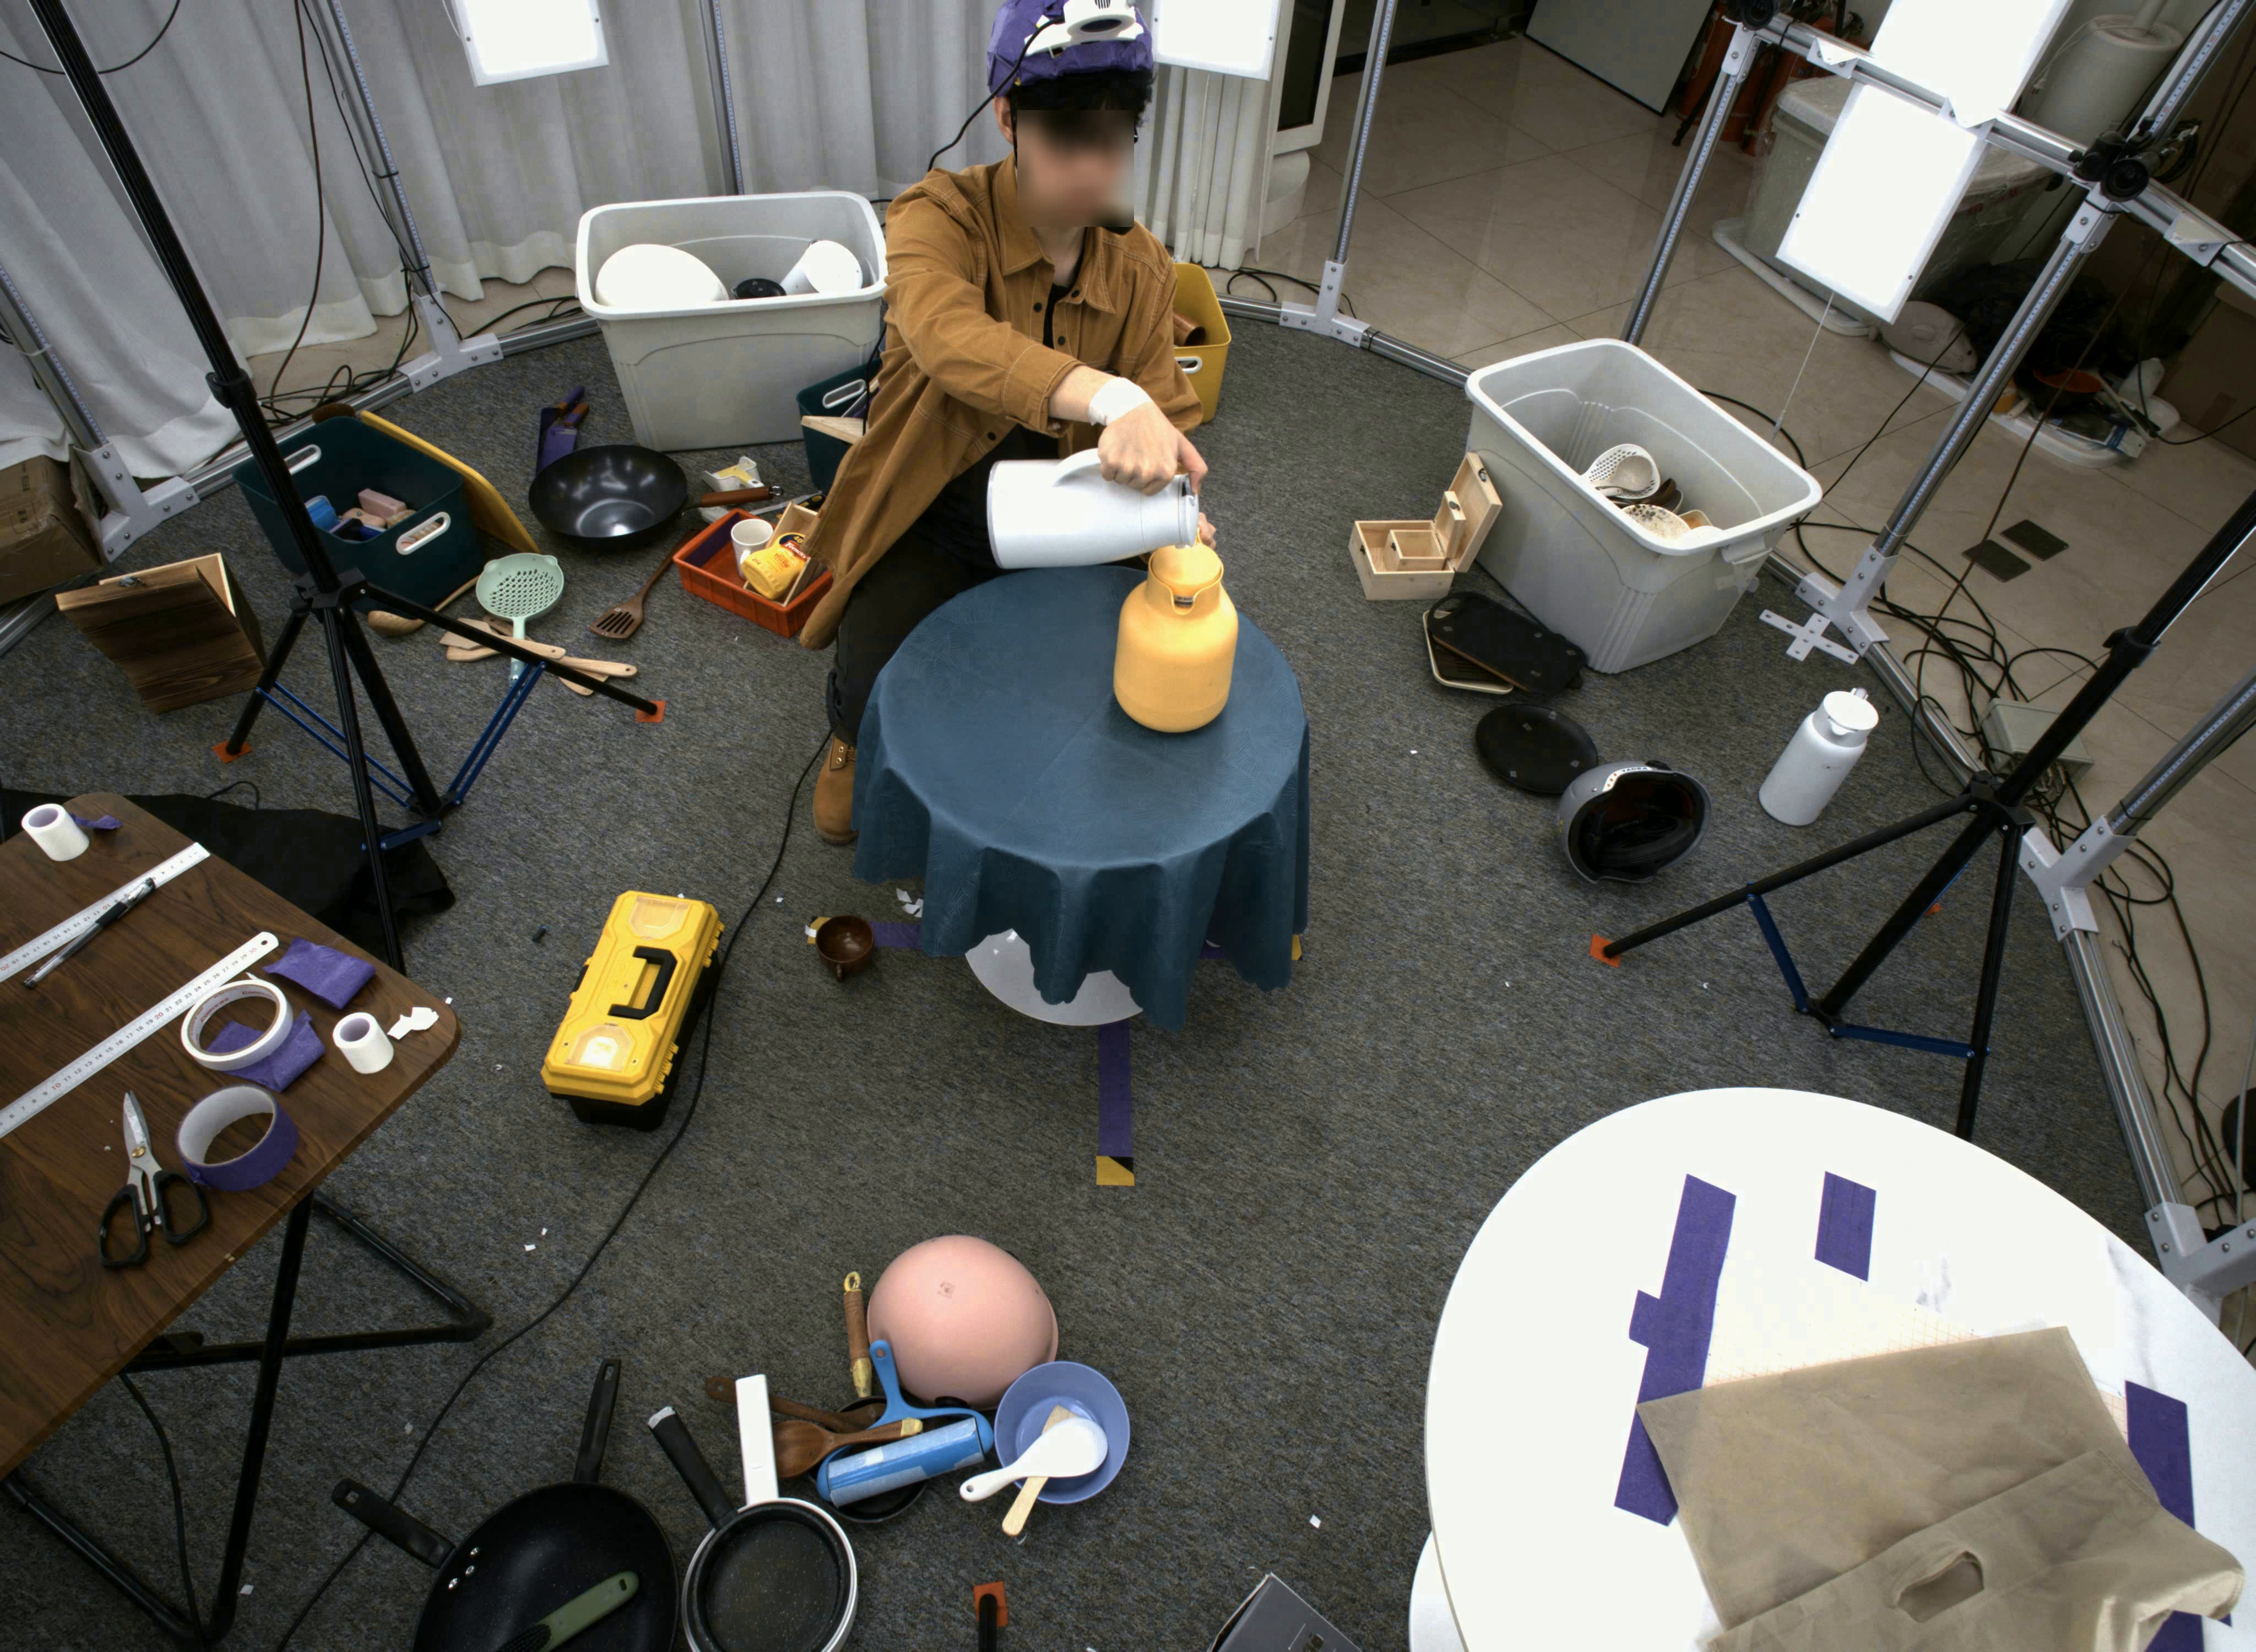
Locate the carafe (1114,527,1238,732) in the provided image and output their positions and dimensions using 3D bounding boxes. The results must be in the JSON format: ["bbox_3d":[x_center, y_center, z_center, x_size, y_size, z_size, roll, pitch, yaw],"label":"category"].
[{"bbox_3d":[0.071,-0.275,1.745,0.163,0.254,0.207,9,51,2],"label":"carafe"}]

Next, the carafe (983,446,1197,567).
[{"bbox_3d":[-0.043,-0.391,1.558,0.249,0.164,0.135,2,64,10],"label":"carafe"}]
